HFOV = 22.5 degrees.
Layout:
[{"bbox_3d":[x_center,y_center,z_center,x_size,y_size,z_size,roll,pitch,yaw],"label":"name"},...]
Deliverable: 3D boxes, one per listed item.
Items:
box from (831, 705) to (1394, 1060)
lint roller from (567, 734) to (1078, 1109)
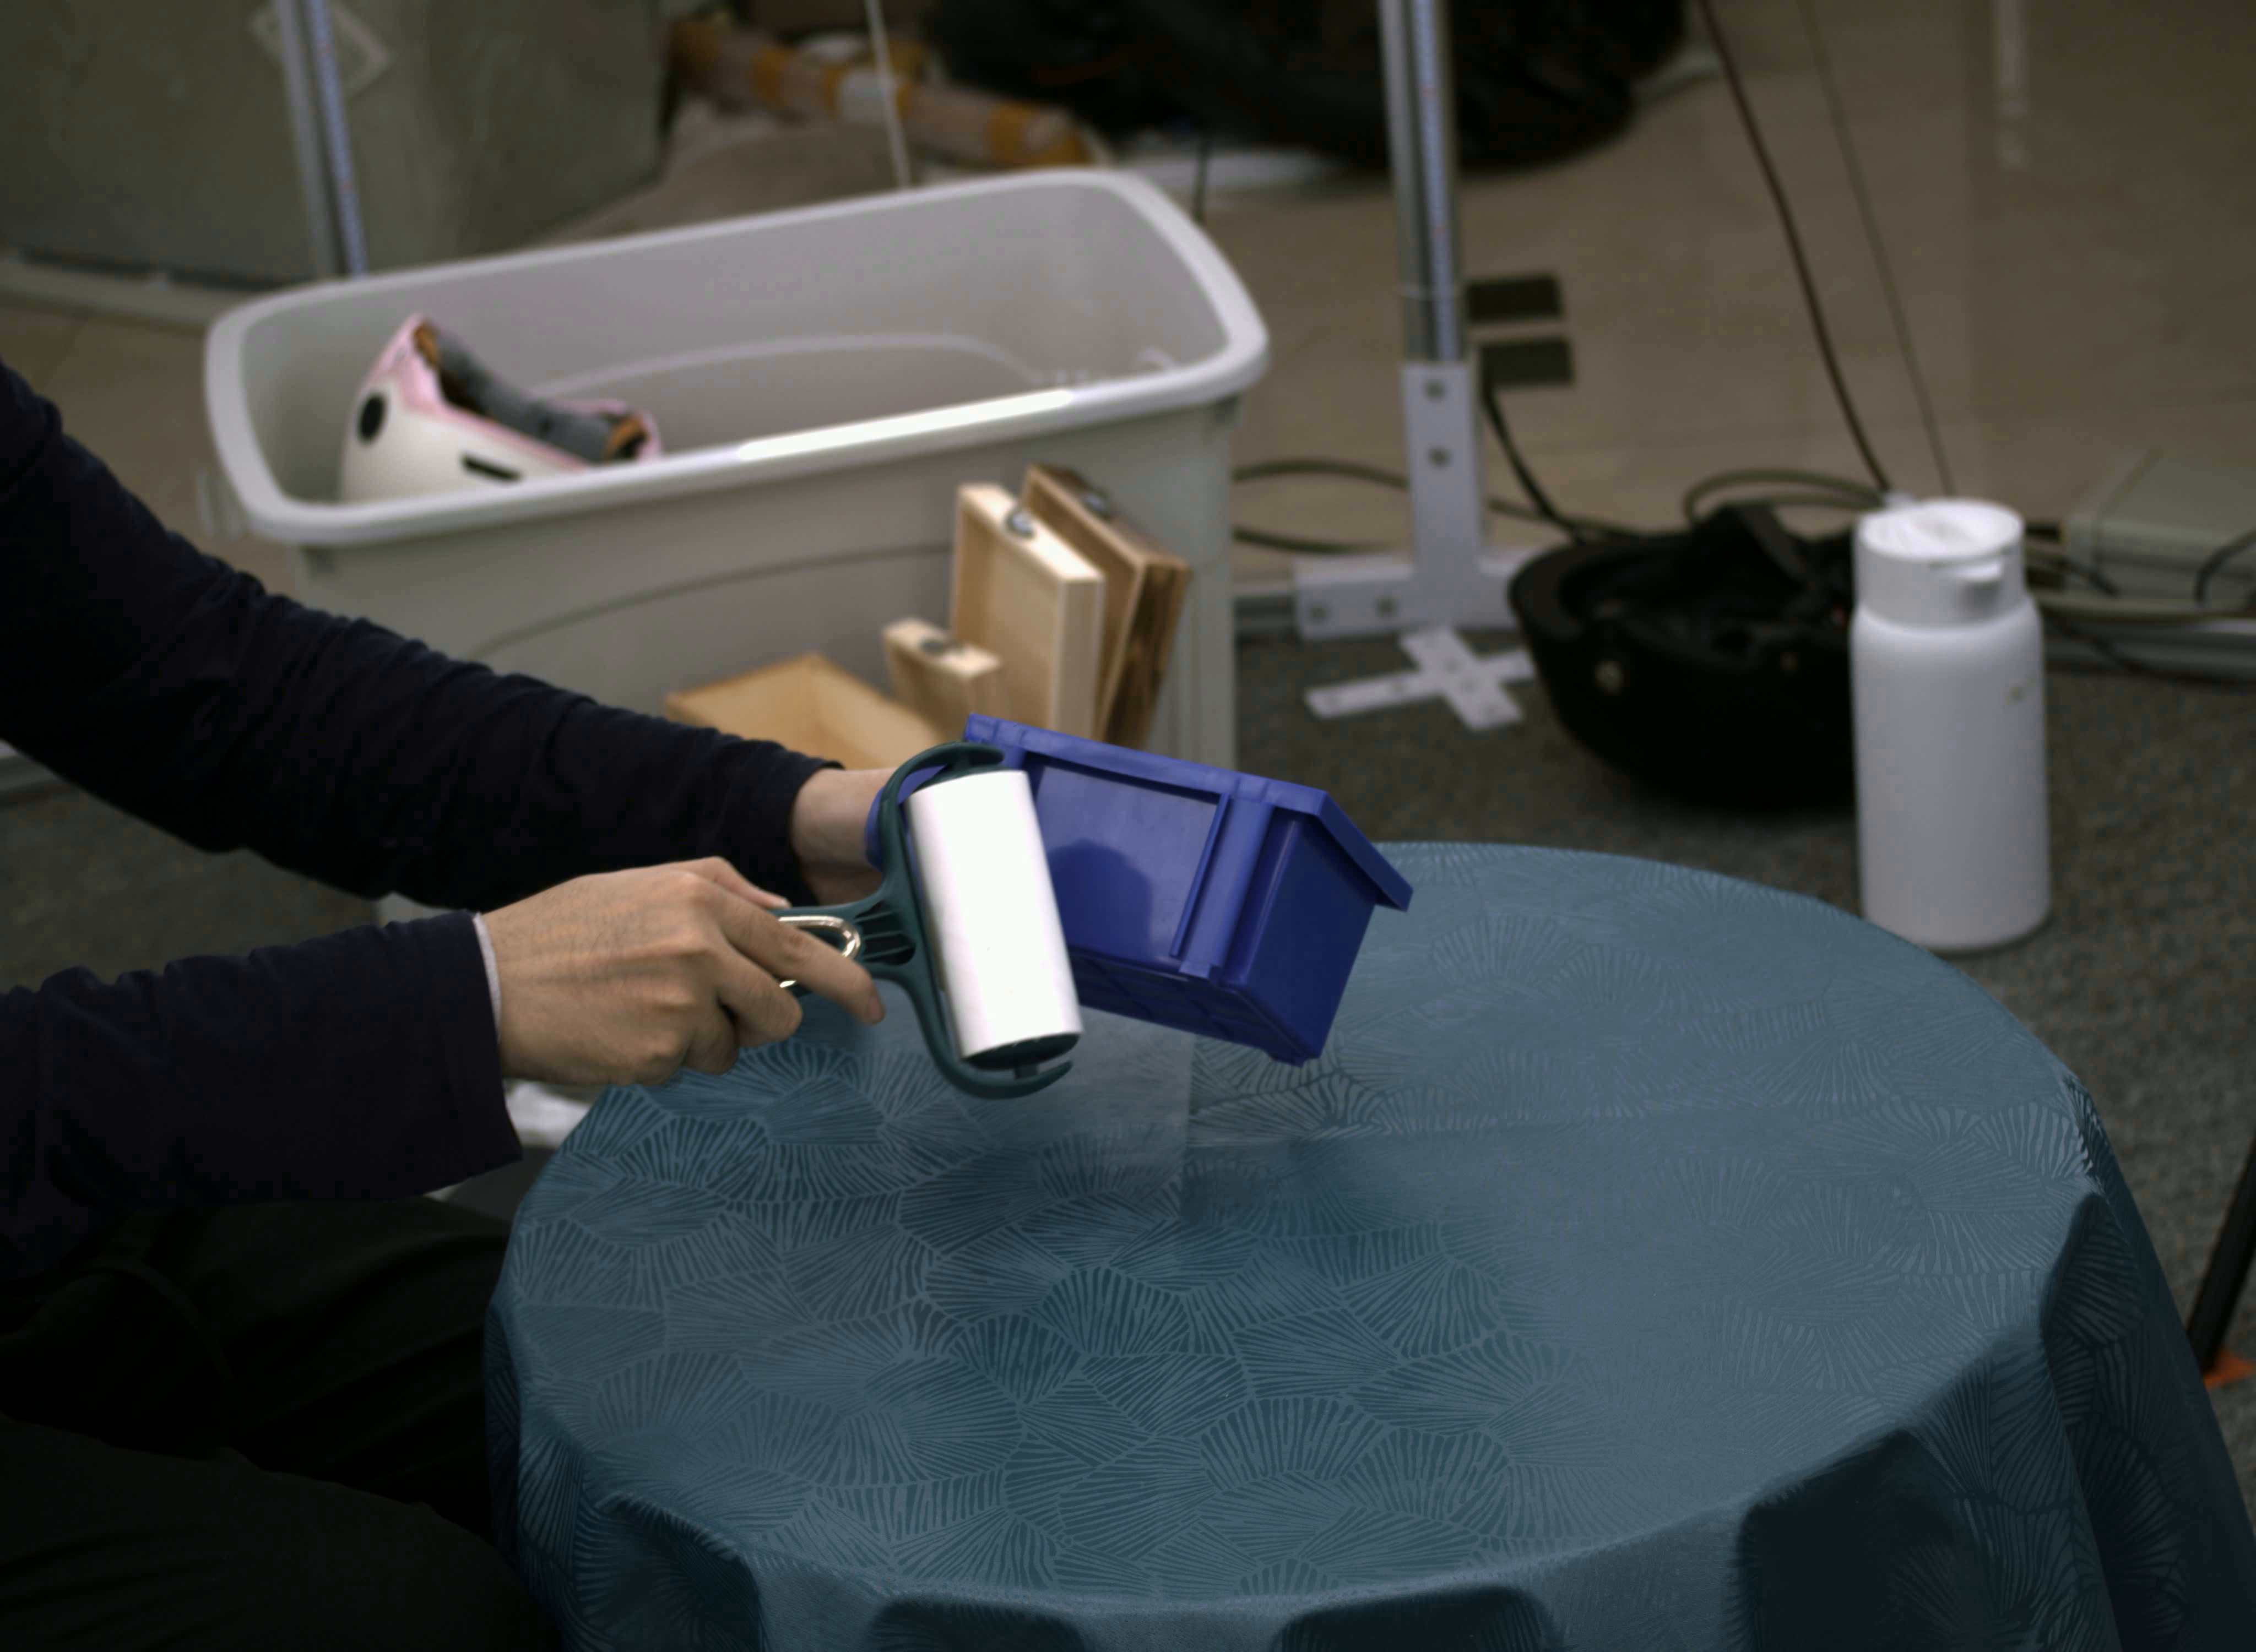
[{"bbox_3d":[-0.009,0.020,2.177,0.178,0.081,0.126,16,-11,25],"label":"box"},{"bbox_3d":[-0.112,0.046,2.049,0.179,0.134,0.048,-10,-8,-23],"label":"lint roller"}]
